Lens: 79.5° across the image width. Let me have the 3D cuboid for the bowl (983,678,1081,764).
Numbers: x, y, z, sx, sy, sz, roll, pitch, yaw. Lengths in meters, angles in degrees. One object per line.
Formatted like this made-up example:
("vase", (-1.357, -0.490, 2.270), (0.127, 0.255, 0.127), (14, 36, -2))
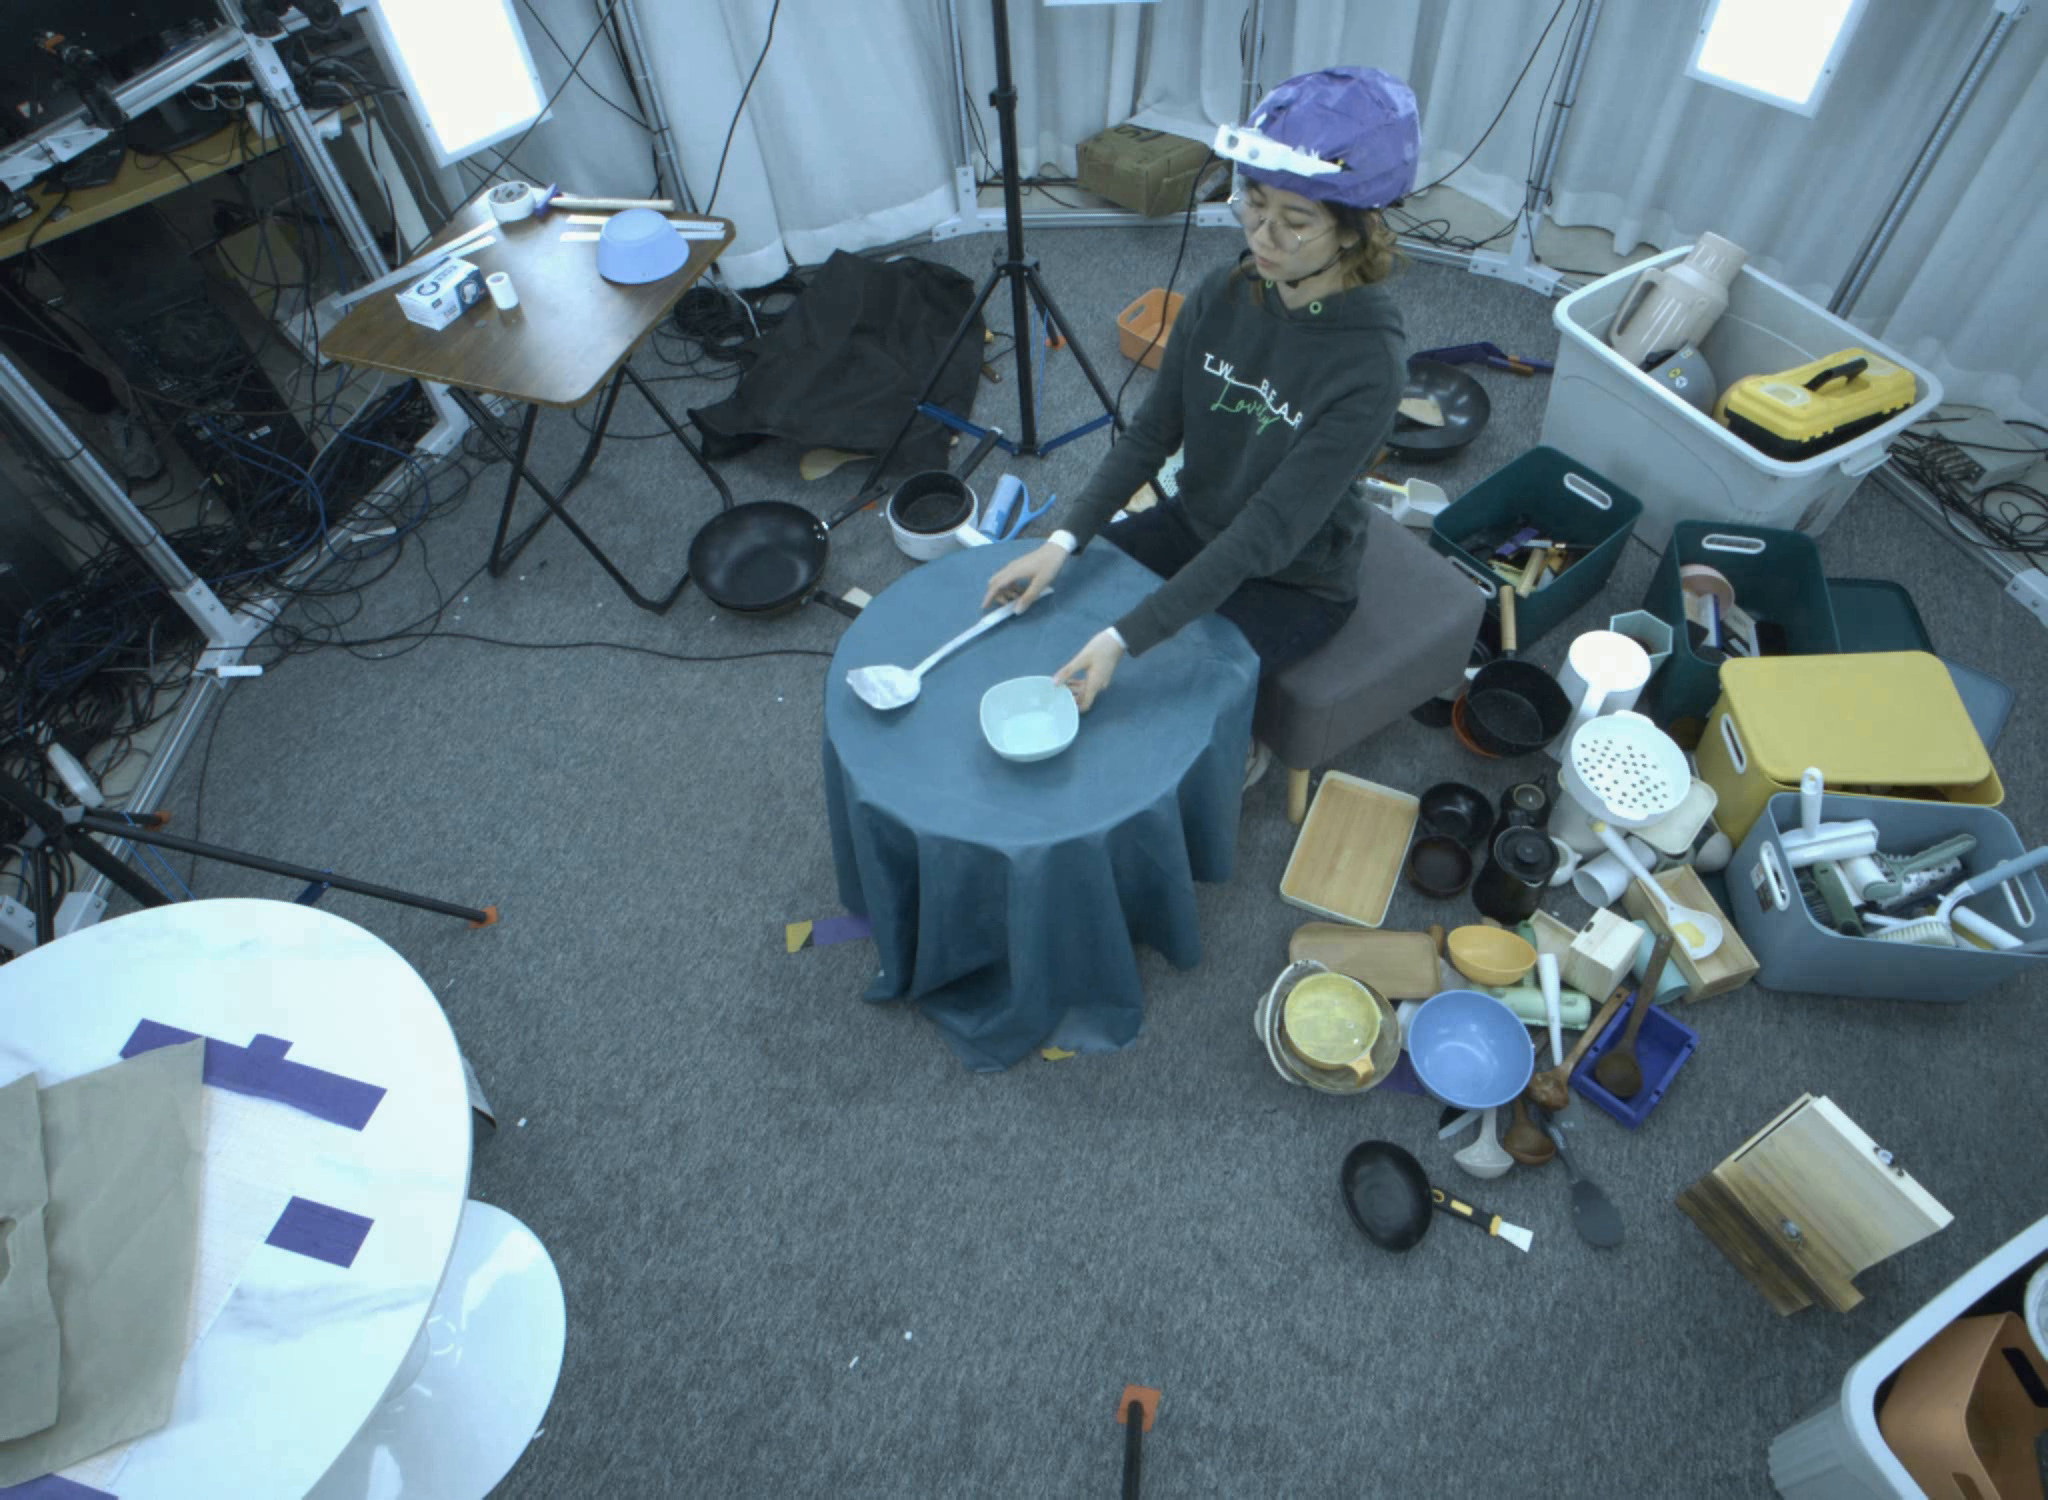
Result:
("bowl", (0.012, -0.031, 1.785), (0.151, 0.059, 0.150), (-1, 58, 2))

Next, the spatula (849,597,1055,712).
("spatula", (-0.101, -0.162, 1.891), (0.368, 0.045, 0.097), (-34, 59, -20))
